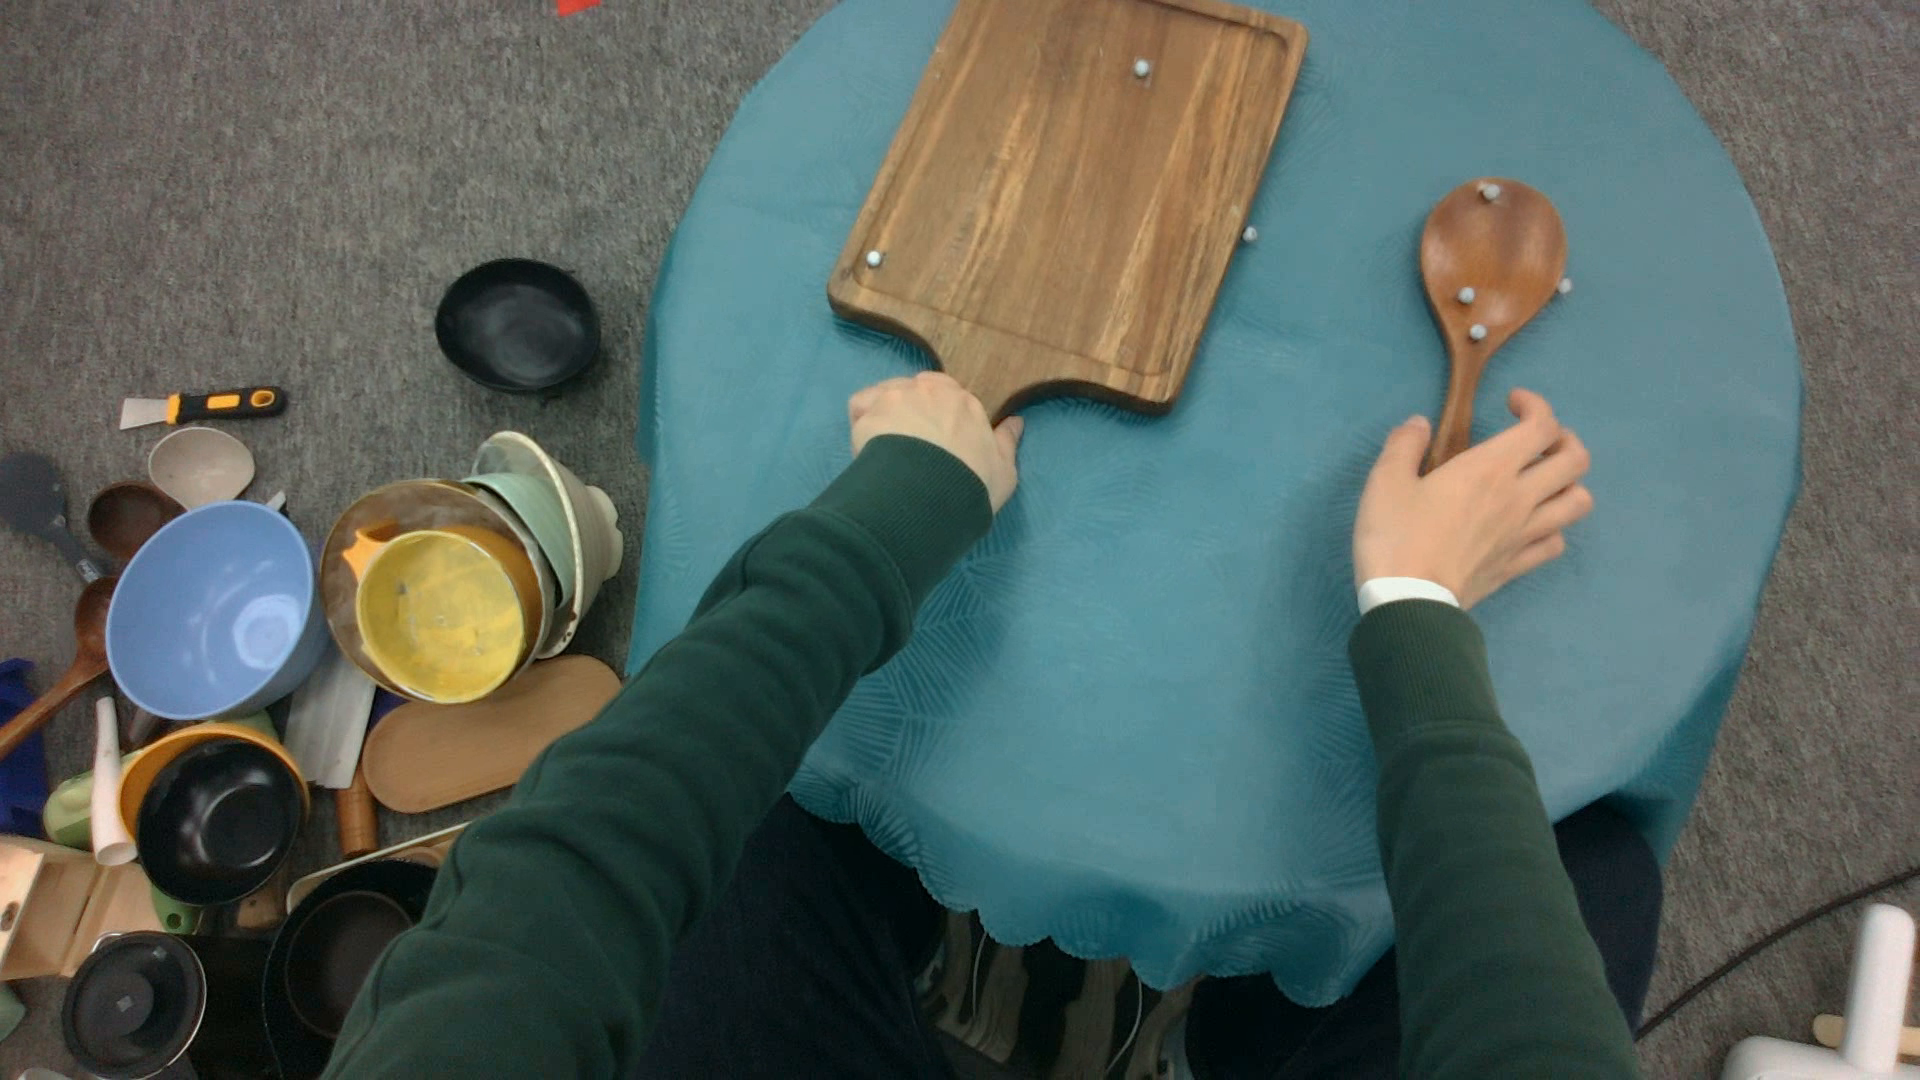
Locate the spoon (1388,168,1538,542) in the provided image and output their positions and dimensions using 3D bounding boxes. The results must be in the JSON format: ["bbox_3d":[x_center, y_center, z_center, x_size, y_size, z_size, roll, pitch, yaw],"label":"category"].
[{"bbox_3d":[0.251,-0.099,0.712,0.075,0.017,0.216,15,72,5],"label":"spoon"}]

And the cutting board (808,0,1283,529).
[{"bbox_3d":[0.034,-0.167,0.741,0.201,0.023,0.353,19,72,8],"label":"cutting board"}]
